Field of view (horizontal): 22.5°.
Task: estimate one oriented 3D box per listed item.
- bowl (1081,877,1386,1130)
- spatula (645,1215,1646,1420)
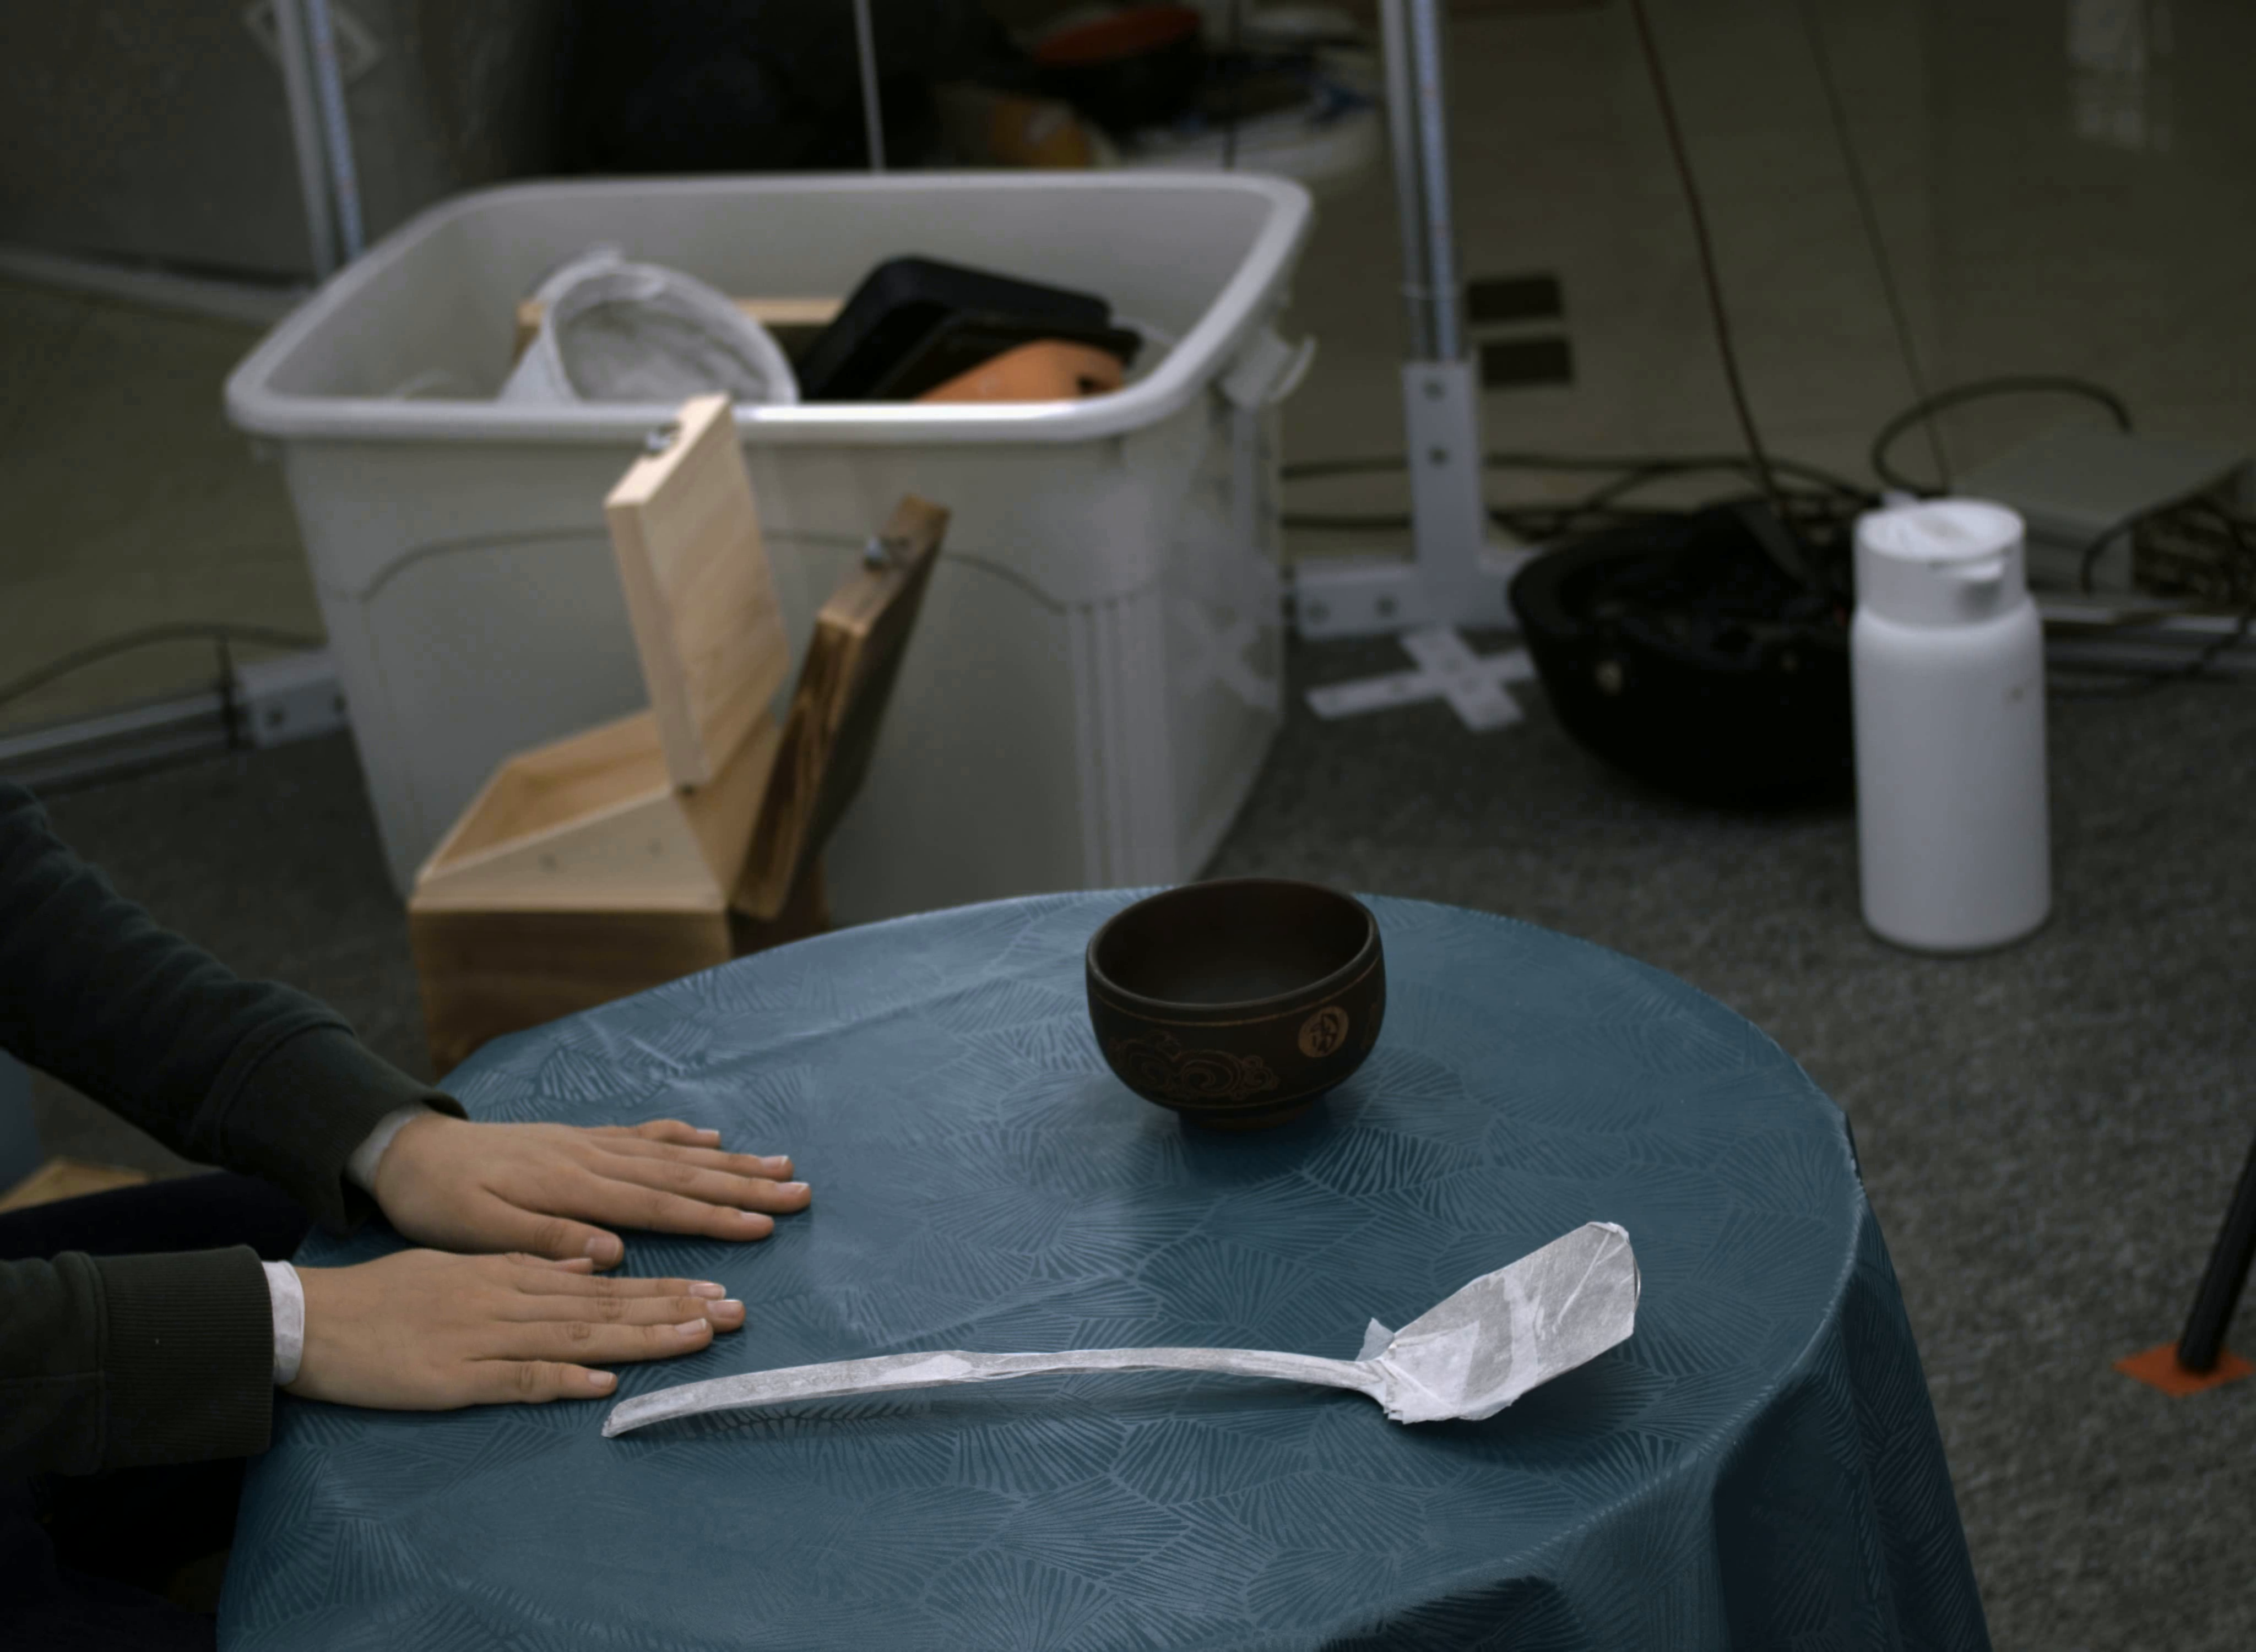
[{"bbox_3d":[0.043,0.075,2.195,0.118,0.071,0.116,-7,24,3],"label":"bowl"},{"bbox_3d":[0.002,0.184,2.009,0.364,0.045,0.097,-3,27,7],"label":"spatula"}]
